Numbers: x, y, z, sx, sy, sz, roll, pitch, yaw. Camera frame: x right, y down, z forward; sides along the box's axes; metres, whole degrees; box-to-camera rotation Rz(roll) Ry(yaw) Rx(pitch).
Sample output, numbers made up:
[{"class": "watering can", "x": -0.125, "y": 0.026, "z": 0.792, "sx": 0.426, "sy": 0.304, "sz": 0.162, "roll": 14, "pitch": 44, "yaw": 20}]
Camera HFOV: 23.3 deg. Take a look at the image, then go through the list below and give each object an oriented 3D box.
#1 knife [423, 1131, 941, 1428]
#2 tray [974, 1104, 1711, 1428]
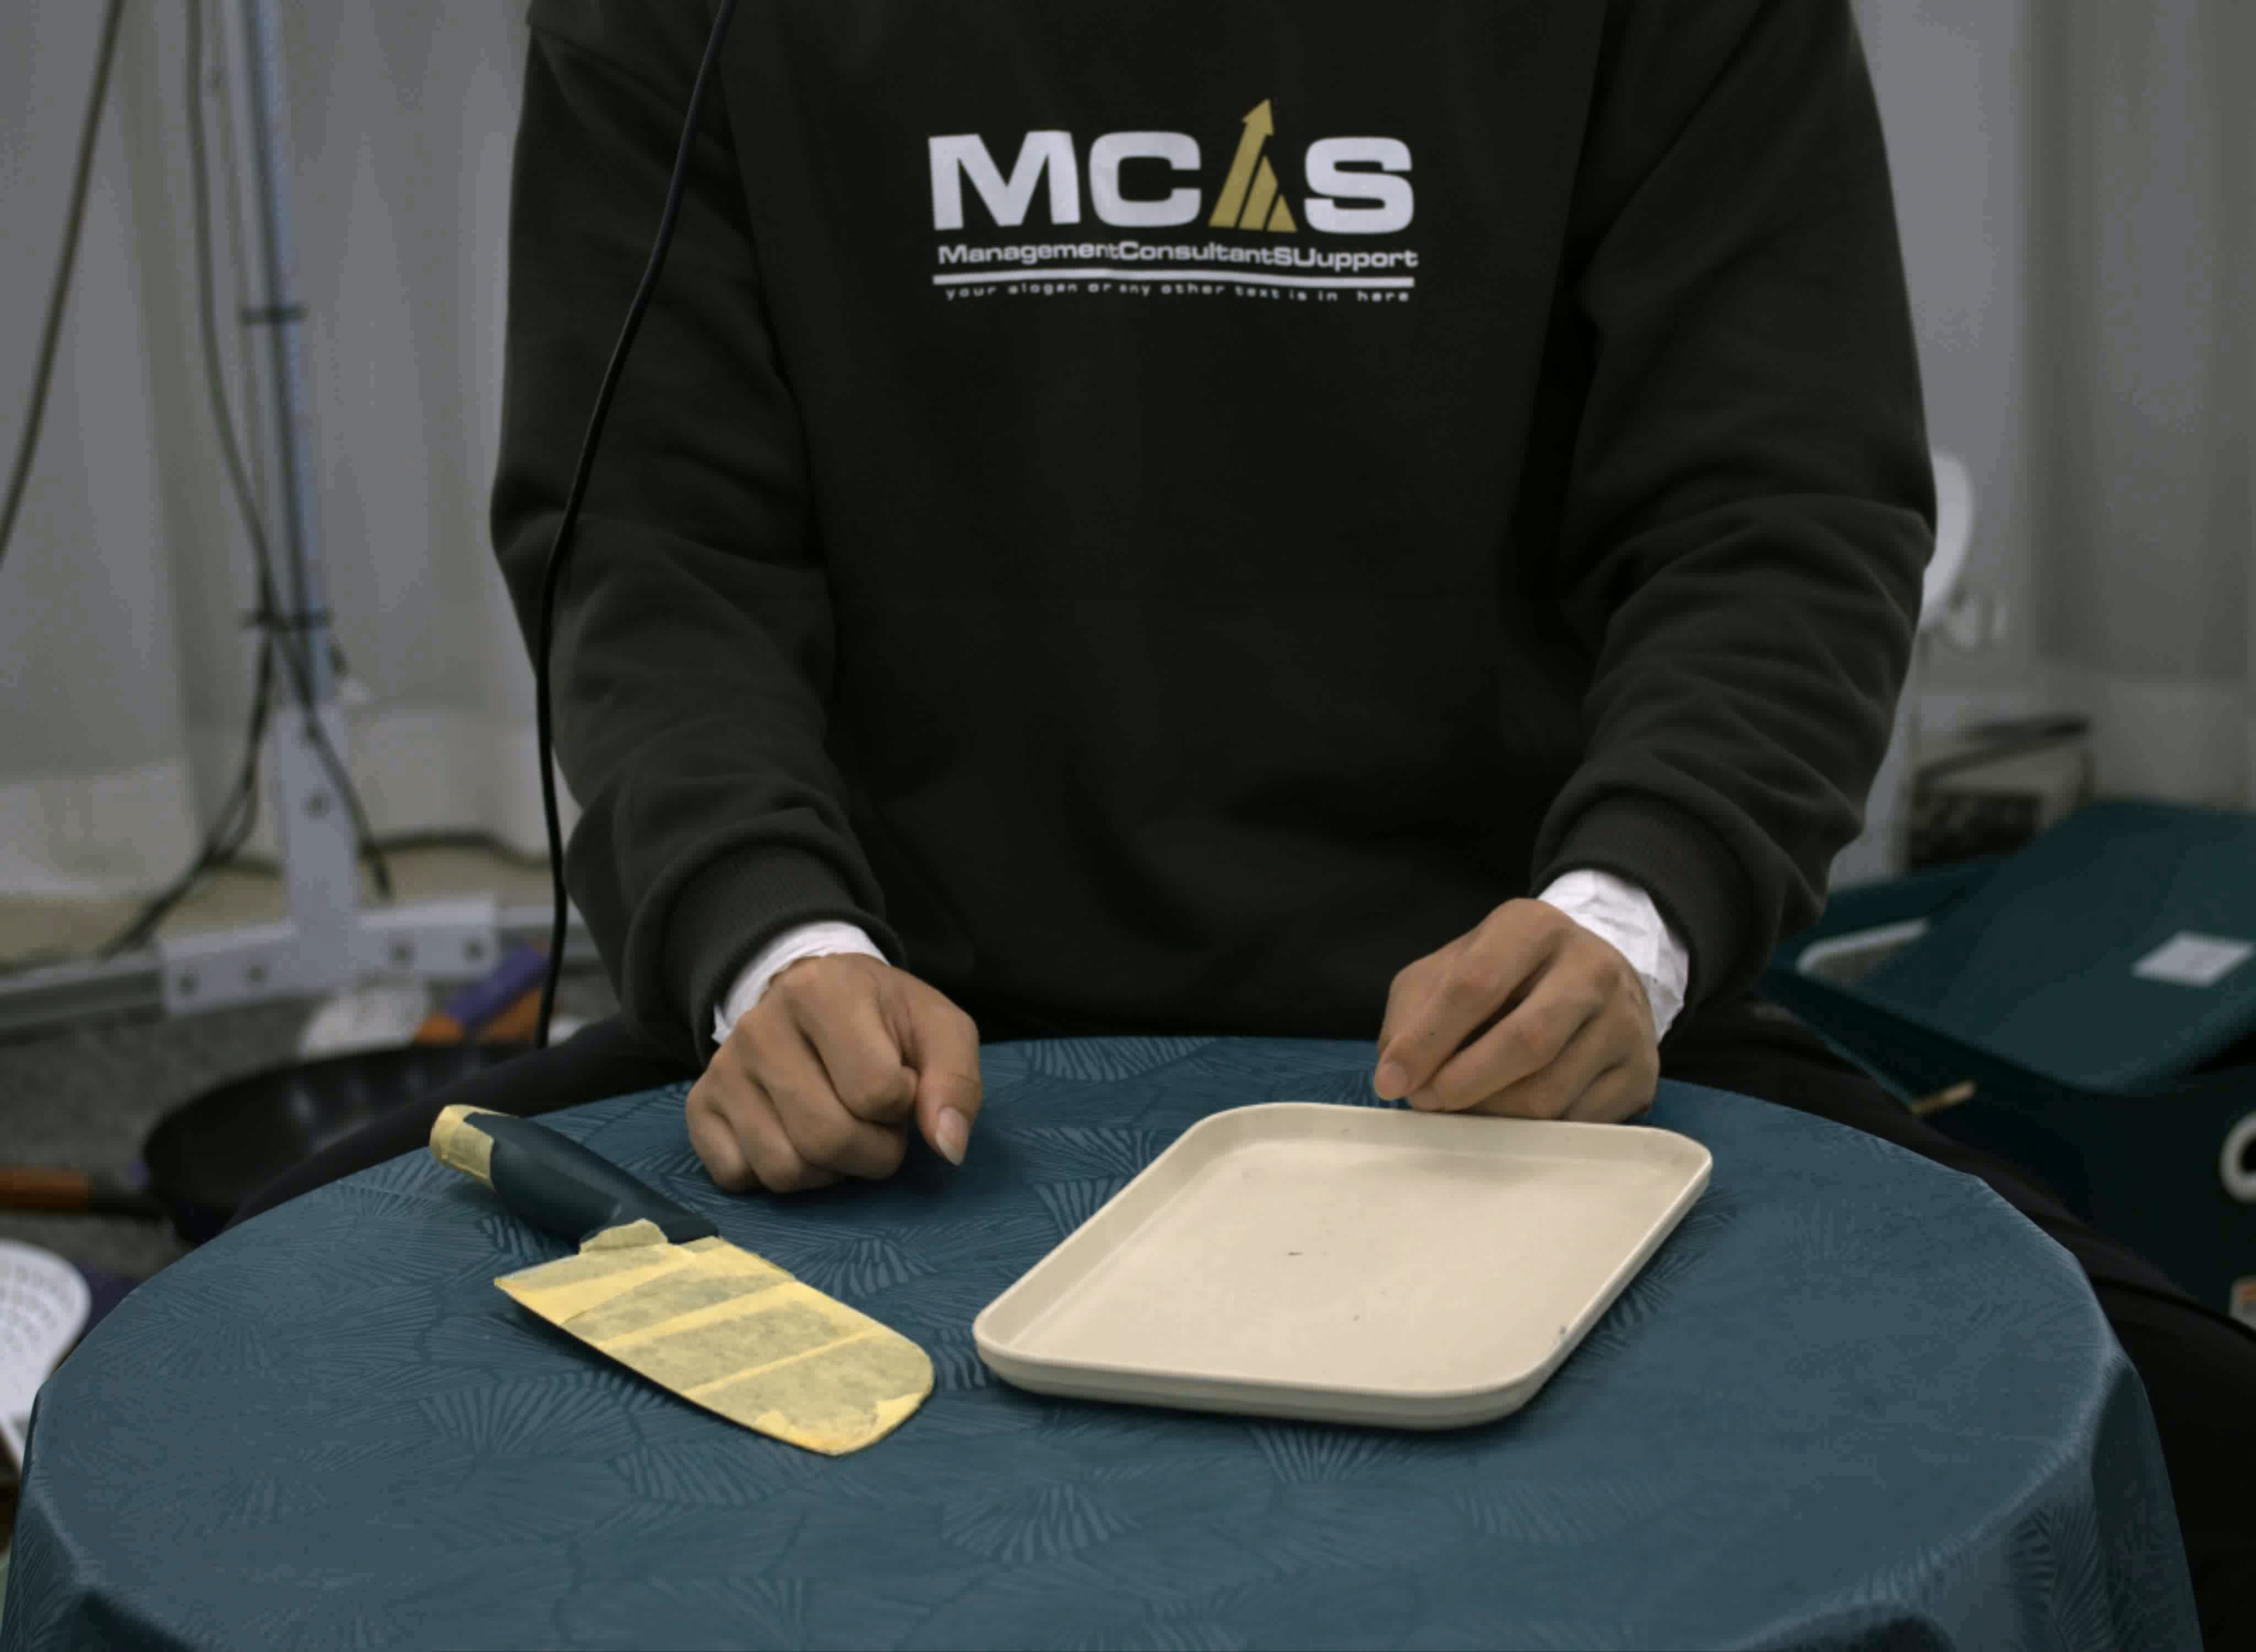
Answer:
[{"class": "knife", "x": -0.146, "y": 0.137, "z": 1.634, "sx": 0.080, "sy": 0.027, "sz": 0.291, "roll": -10, "pitch": 17, "yaw": -32}, {"class": "tray", "x": 0.068, "y": 0.129, "z": 1.617, "sx": 0.171, "sy": 0.017, "sz": 0.240, "roll": 3, "pitch": 16, "yaw": 21}]
